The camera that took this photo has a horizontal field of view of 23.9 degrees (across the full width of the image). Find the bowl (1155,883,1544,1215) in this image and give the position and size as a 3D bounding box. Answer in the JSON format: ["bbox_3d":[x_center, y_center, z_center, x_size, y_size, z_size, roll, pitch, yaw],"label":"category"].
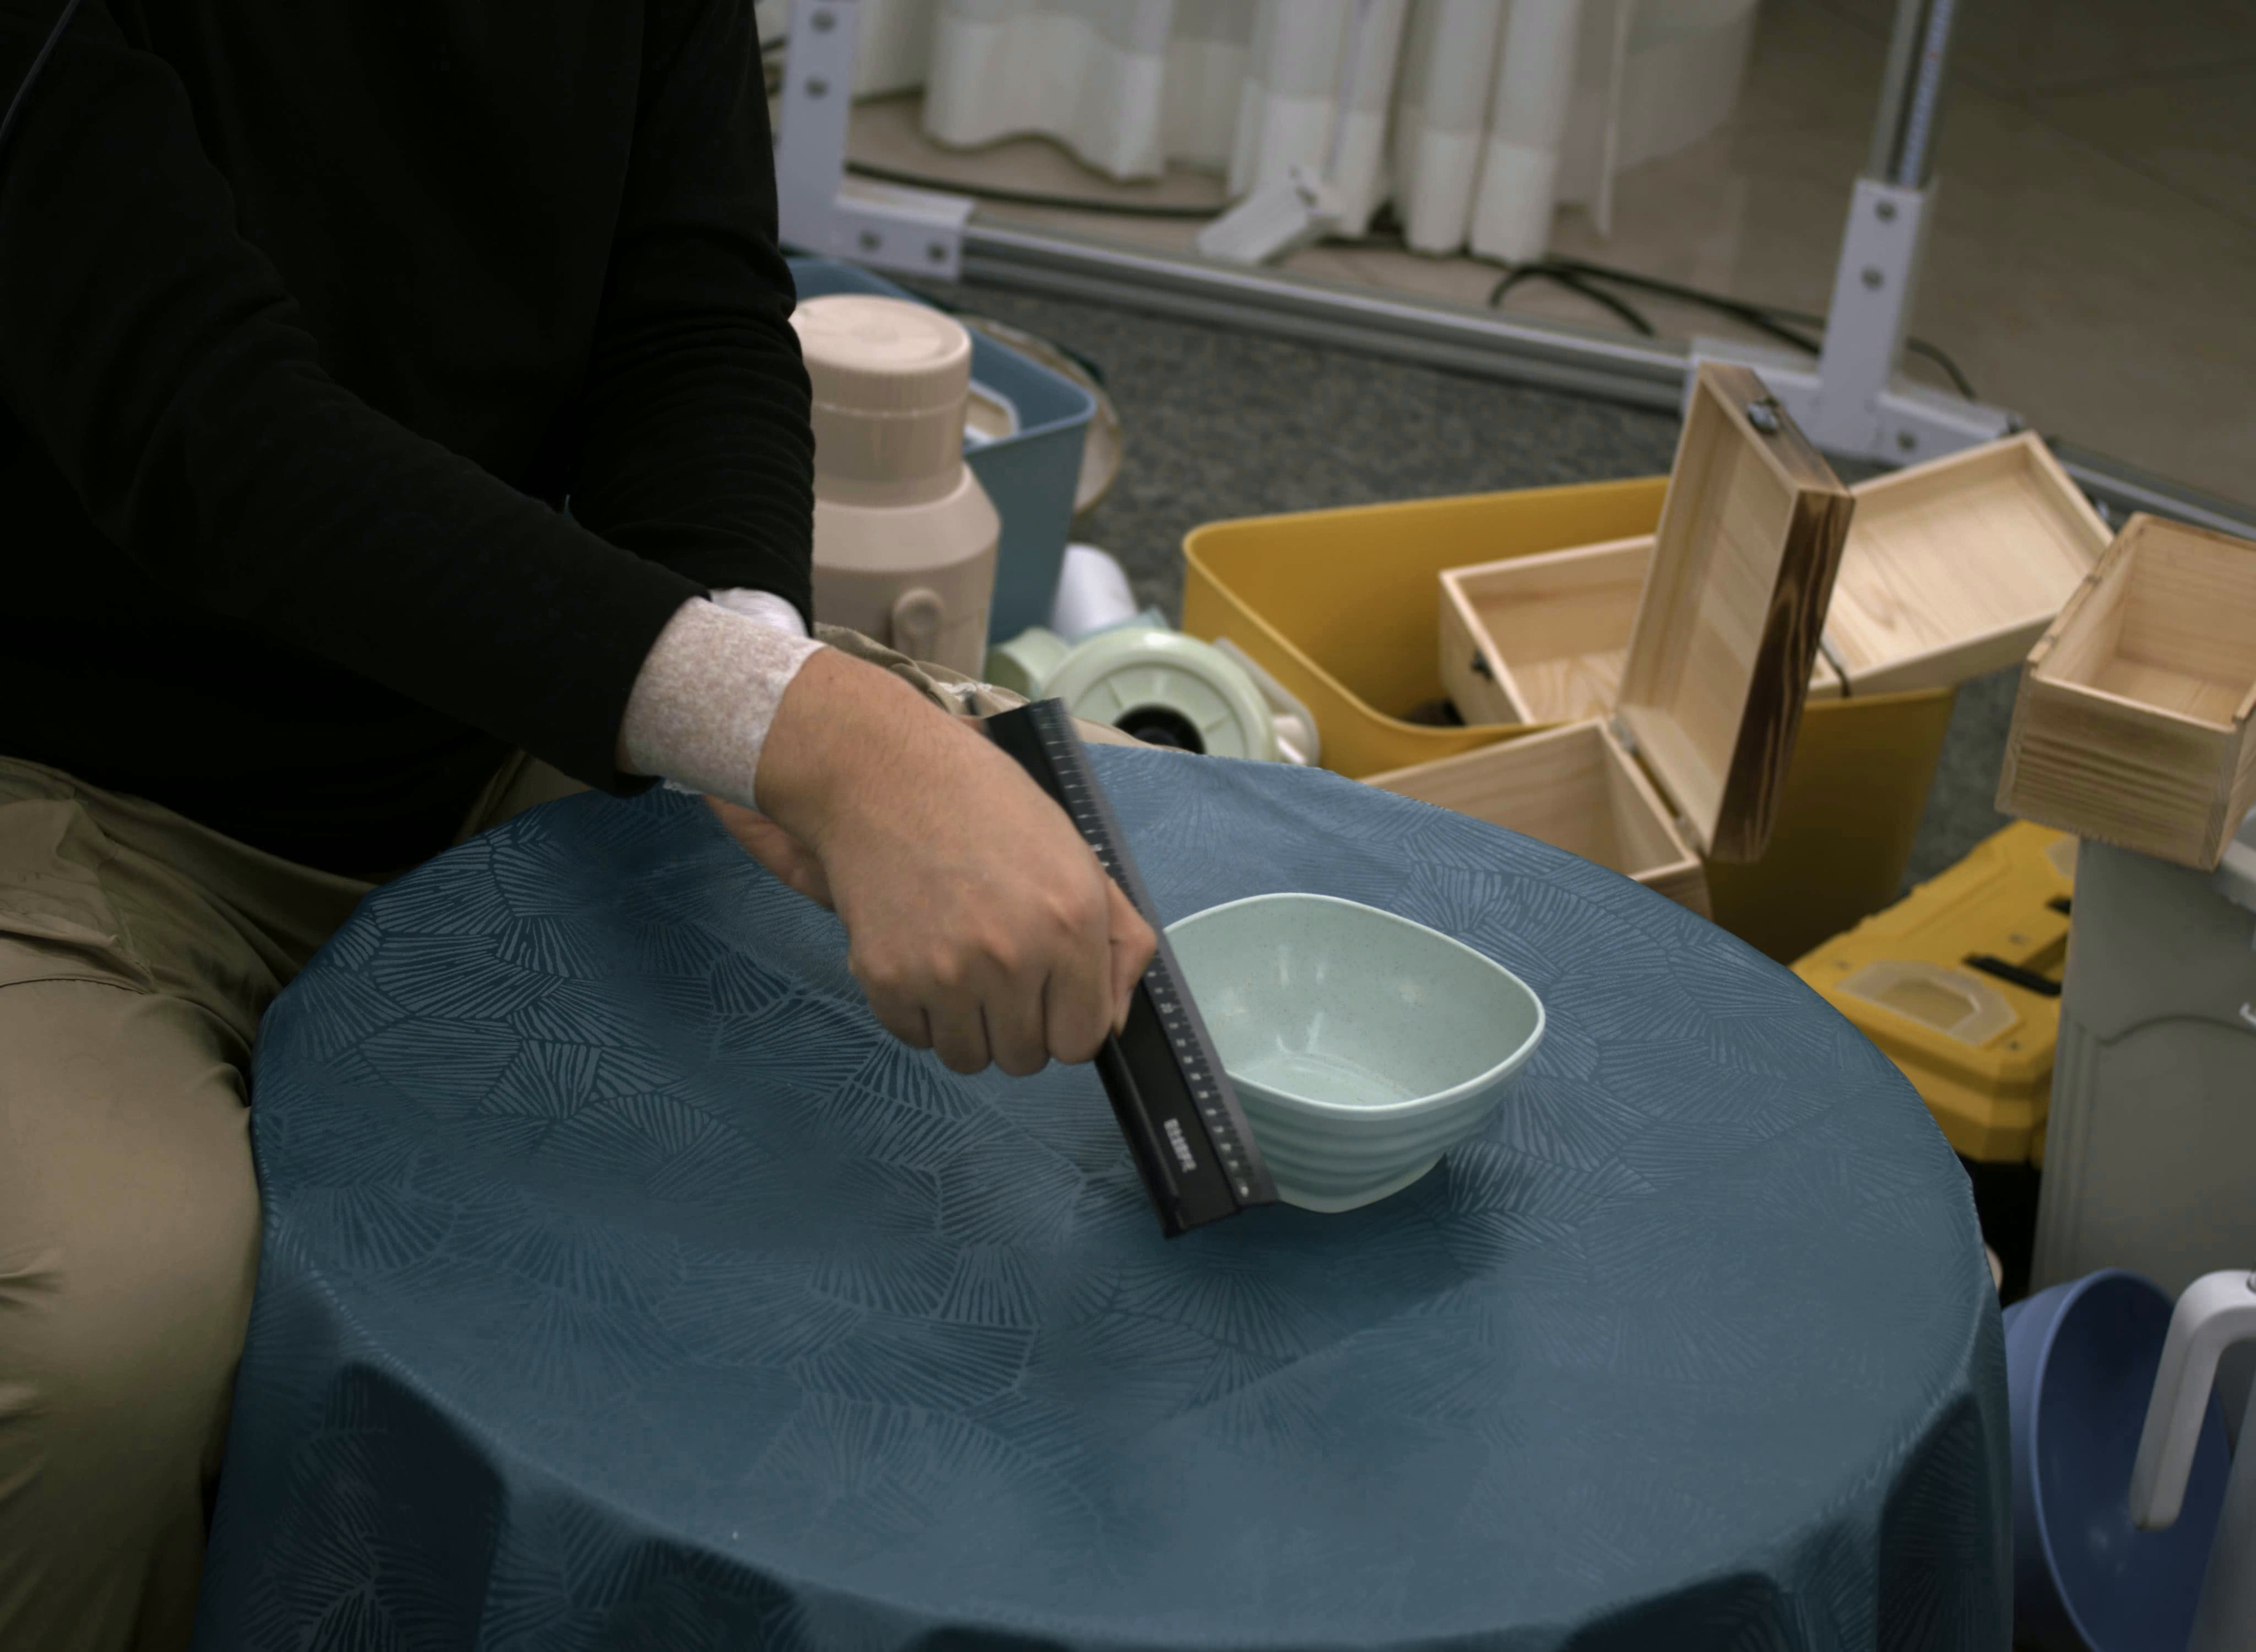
[{"bbox_3d":[0.065,0.083,1.833,0.151,0.058,0.152,6,29,-4],"label":"bowl"}]

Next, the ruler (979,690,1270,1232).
[{"bbox_3d":[-0.005,0.034,1.756,0.039,0.017,0.315,-15,33,-4],"label":"ruler"}]
